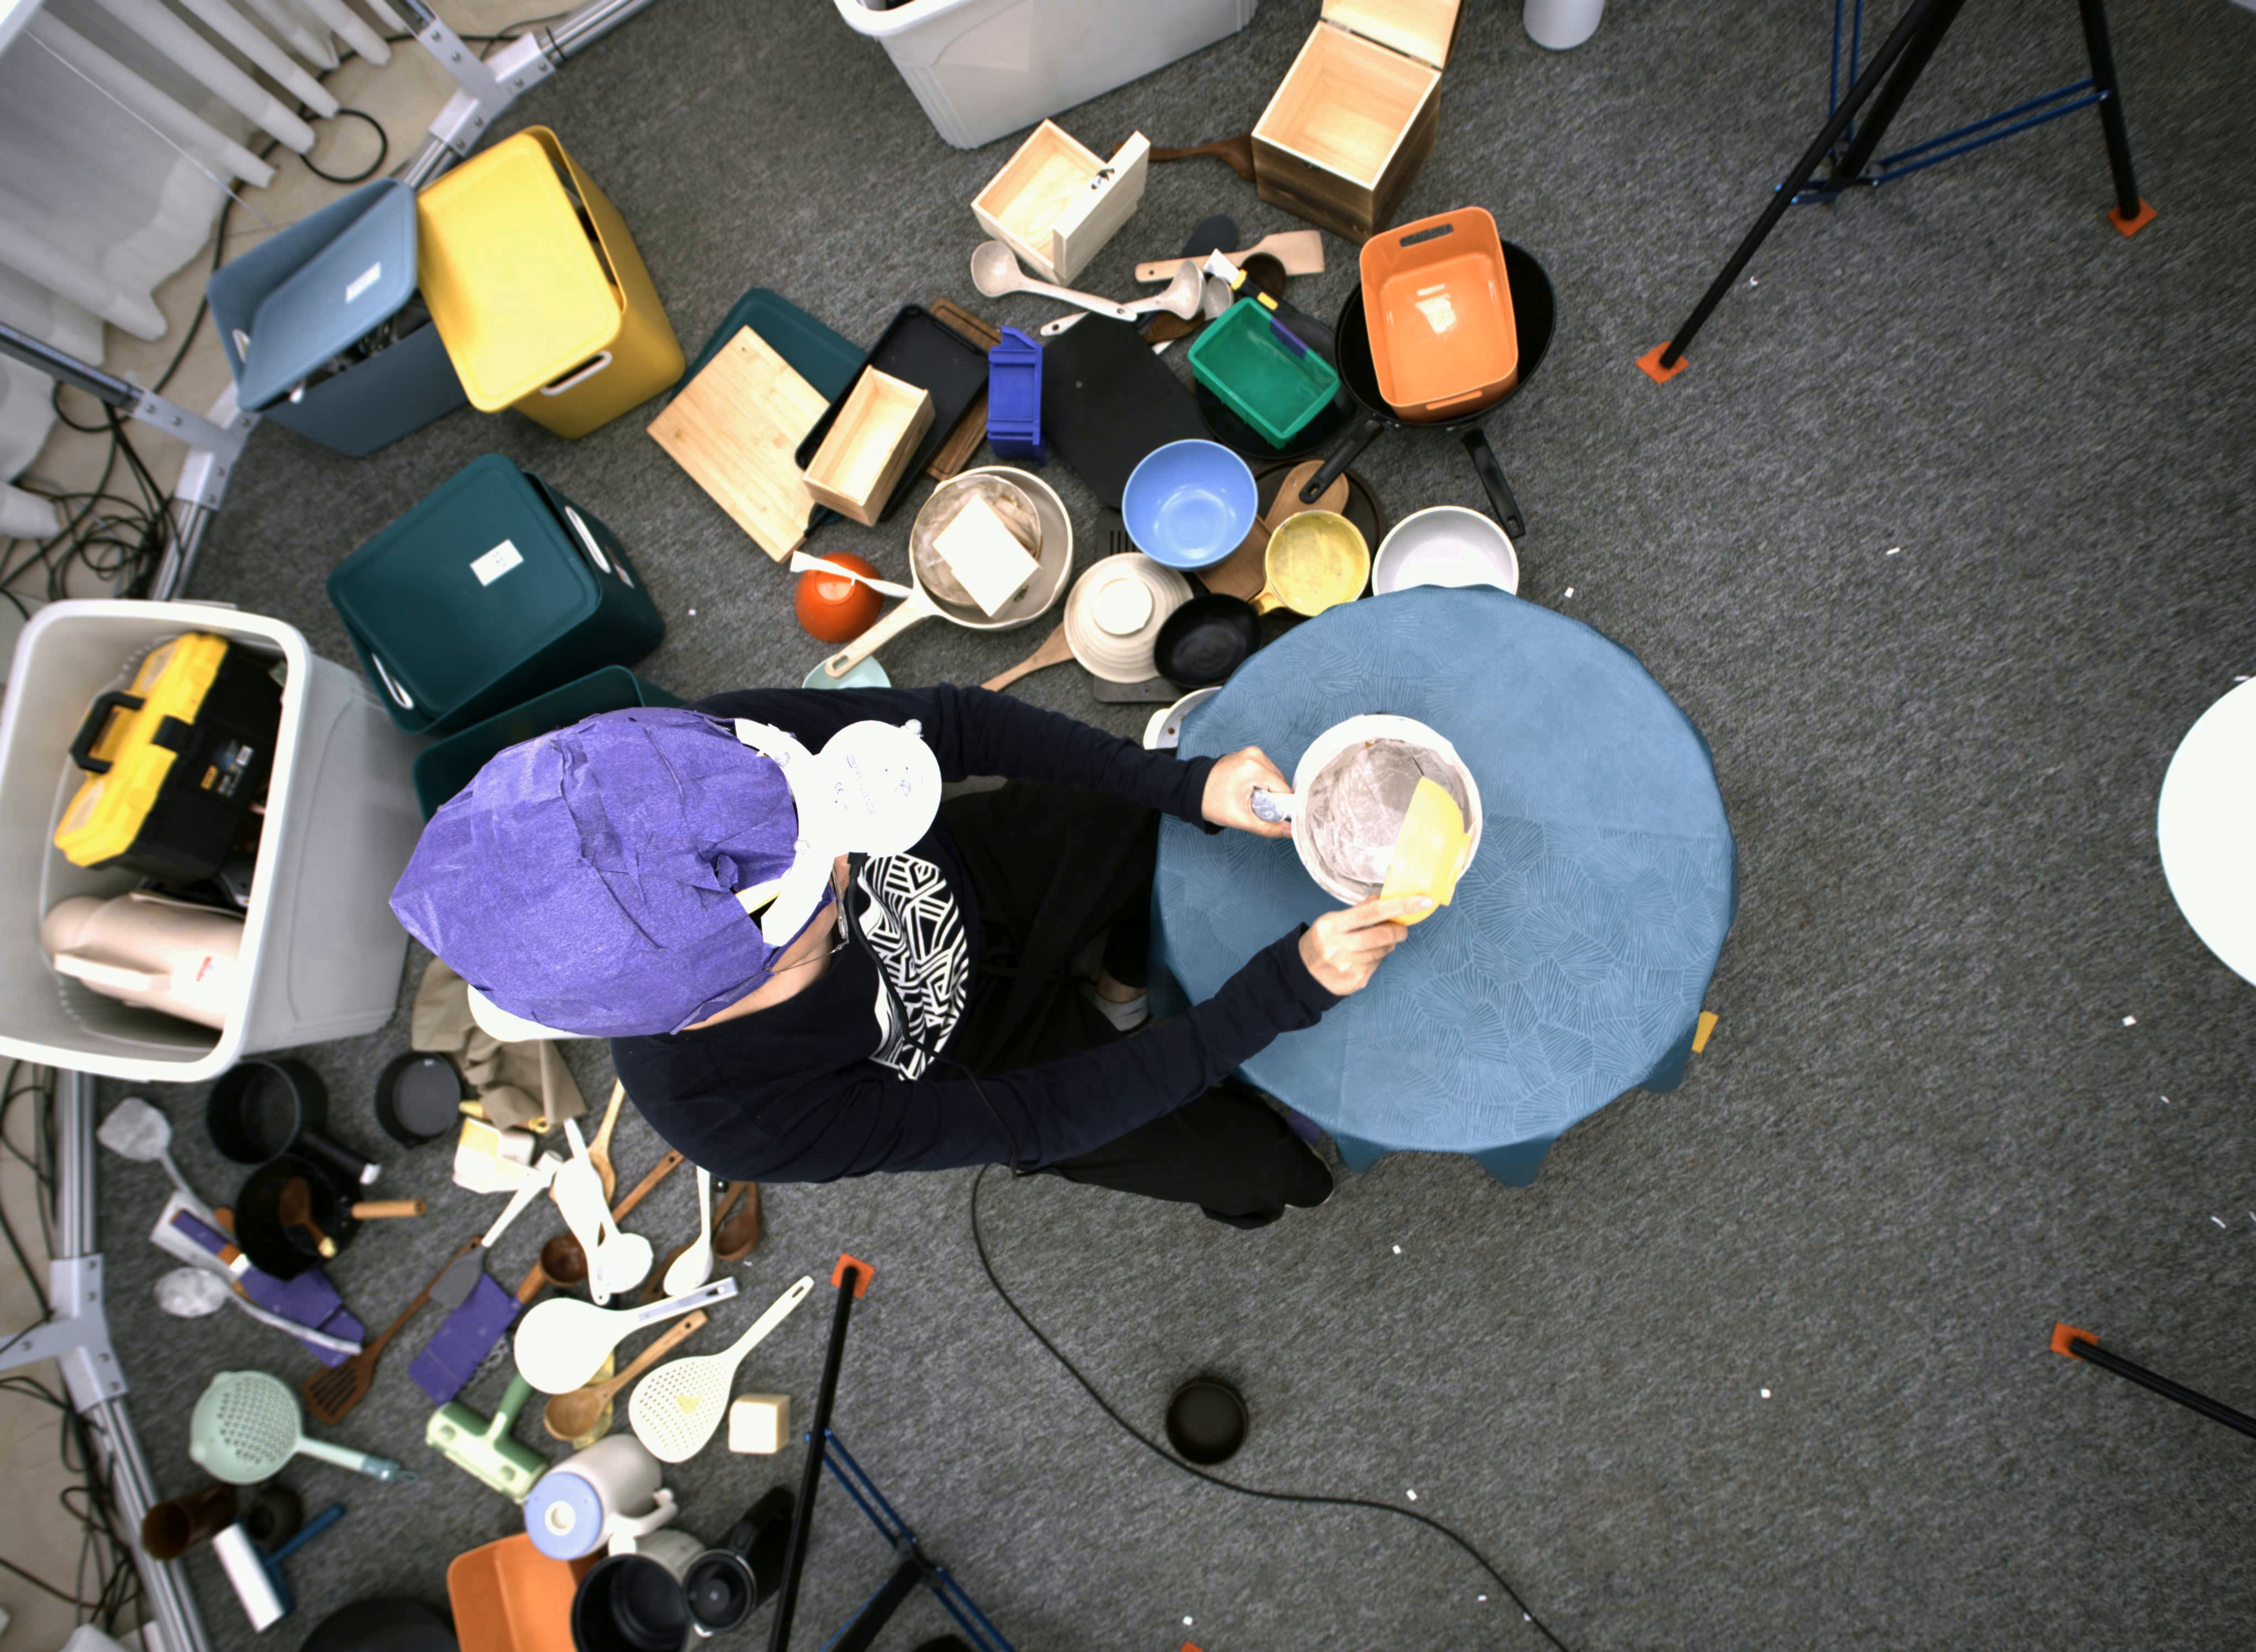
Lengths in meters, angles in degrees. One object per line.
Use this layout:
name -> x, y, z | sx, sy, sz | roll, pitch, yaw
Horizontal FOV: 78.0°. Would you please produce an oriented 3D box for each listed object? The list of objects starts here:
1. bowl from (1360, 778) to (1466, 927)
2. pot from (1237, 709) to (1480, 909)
bowl -> 0.264, 0.033, 1.244 | 0.060, 0.145, 0.145 | 22, 89, 8
pot -> 0.221, -0.022, 1.356 | 0.234, 0.134, 0.181 | 4, 105, 8
